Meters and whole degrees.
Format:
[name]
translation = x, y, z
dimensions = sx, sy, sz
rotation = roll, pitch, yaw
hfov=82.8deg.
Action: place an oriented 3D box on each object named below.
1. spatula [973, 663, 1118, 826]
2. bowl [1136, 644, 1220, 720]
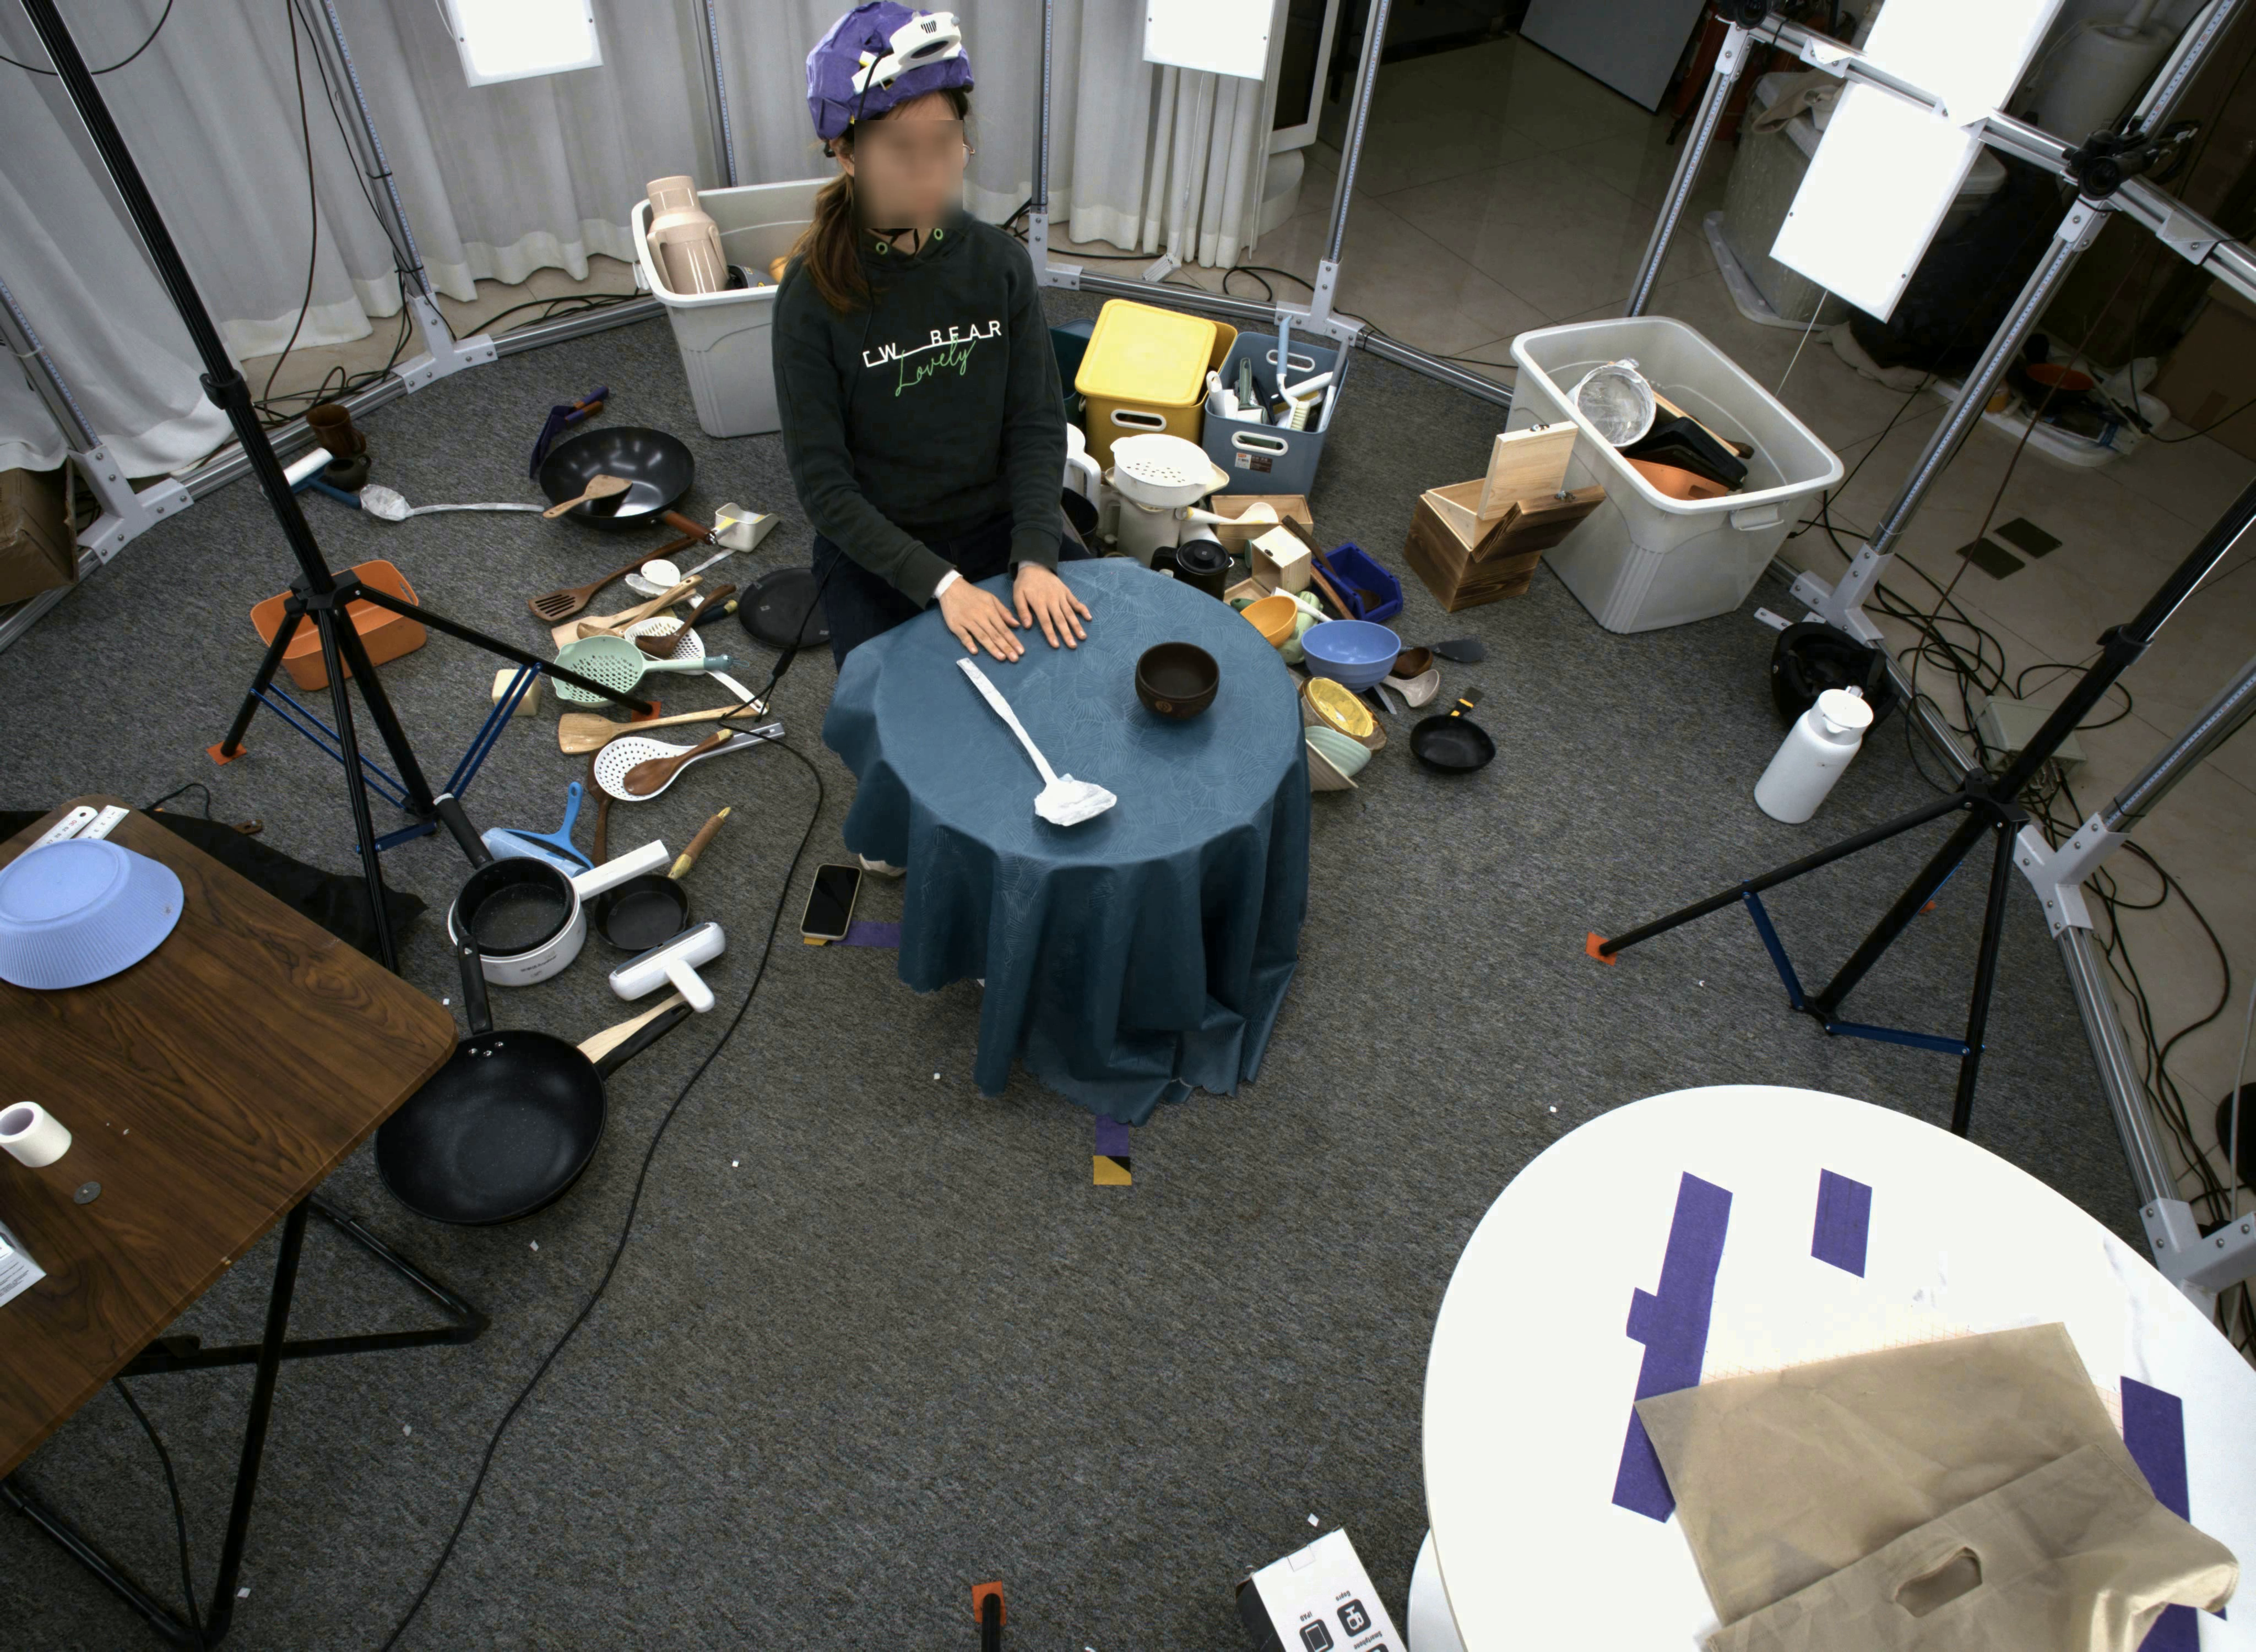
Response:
[spatula]
translation = -0.136, -0.123, 1.756
dimensions = 0.099, 0.043, 0.373
rotation = -22, 54, -19
[bowl]
translation = 0.068, -0.195, 1.813
dimensions = 0.118, 0.068, 0.121
rotation = 2, 47, -3
